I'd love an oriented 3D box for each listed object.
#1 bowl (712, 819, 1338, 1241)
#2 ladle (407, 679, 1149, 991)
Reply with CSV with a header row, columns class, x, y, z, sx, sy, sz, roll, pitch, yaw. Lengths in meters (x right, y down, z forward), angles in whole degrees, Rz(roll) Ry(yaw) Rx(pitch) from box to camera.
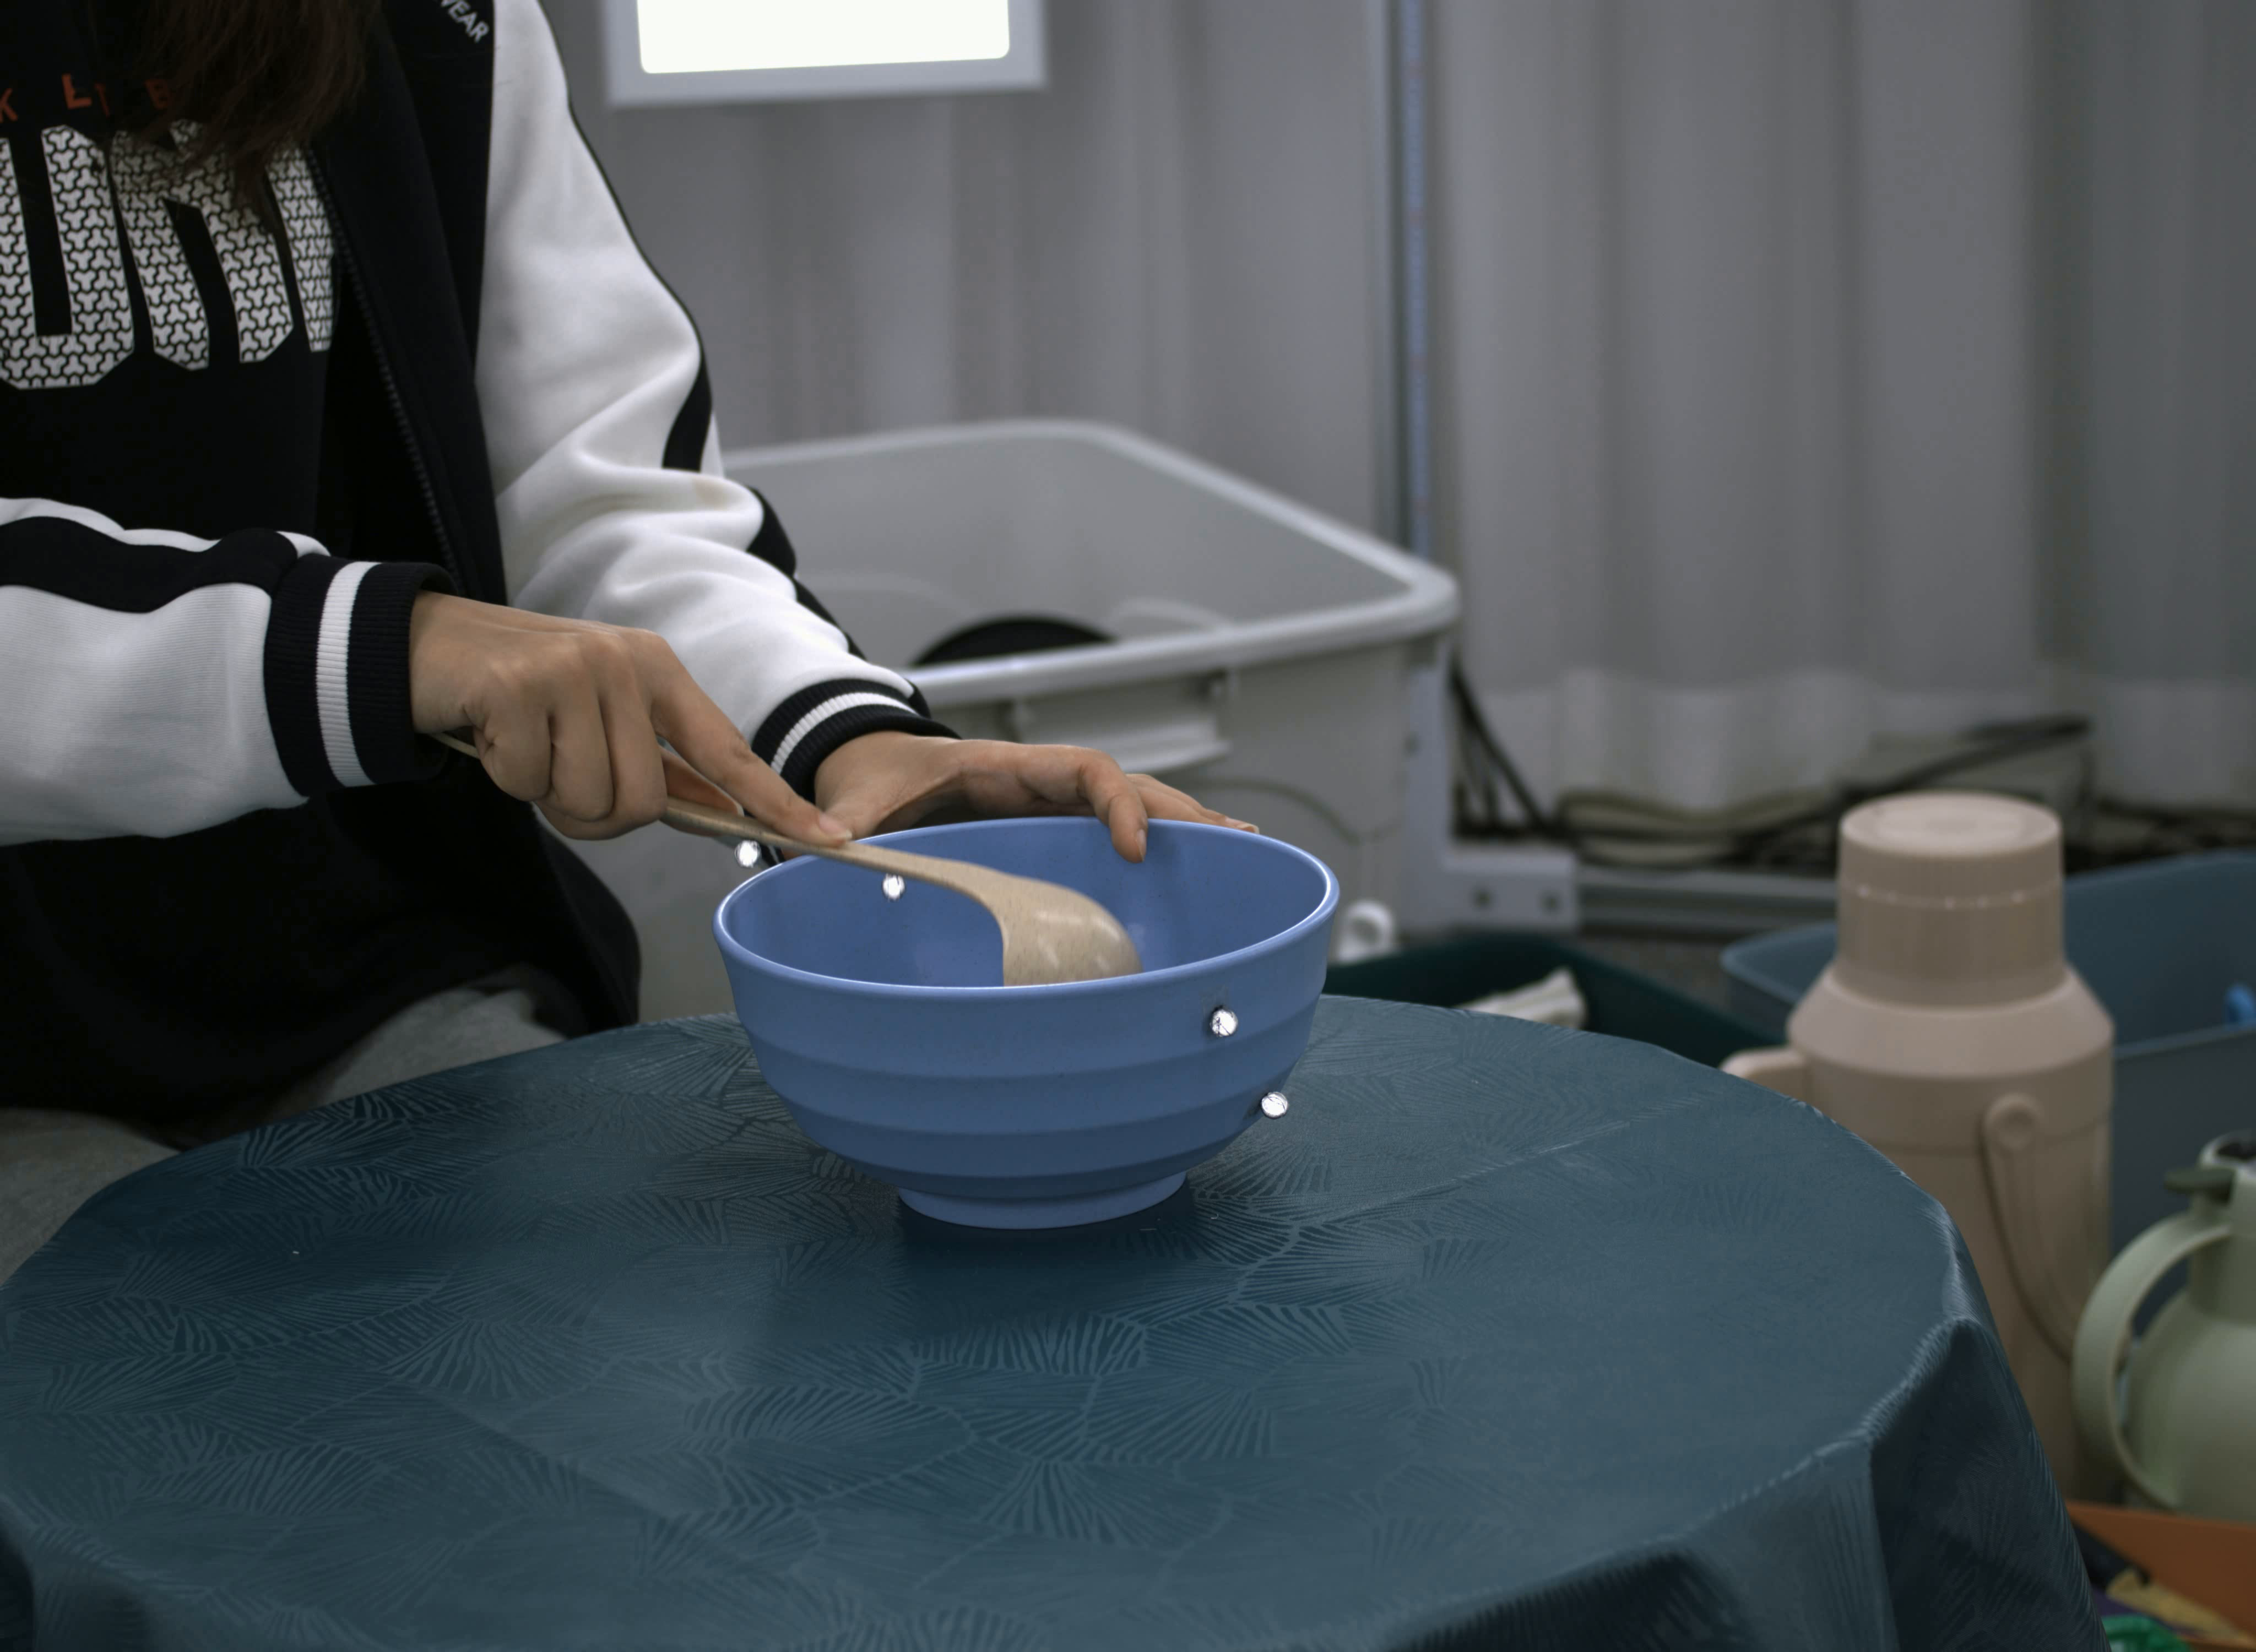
class,x,y,z,sx,sy,sz,roll,pitch,yaw
bowl,-0.029,0.070,1.716,0.196,0.095,0.198,-4,15,1
ladle,-0.118,0.025,1.733,0.254,0.072,0.072,17,20,10
